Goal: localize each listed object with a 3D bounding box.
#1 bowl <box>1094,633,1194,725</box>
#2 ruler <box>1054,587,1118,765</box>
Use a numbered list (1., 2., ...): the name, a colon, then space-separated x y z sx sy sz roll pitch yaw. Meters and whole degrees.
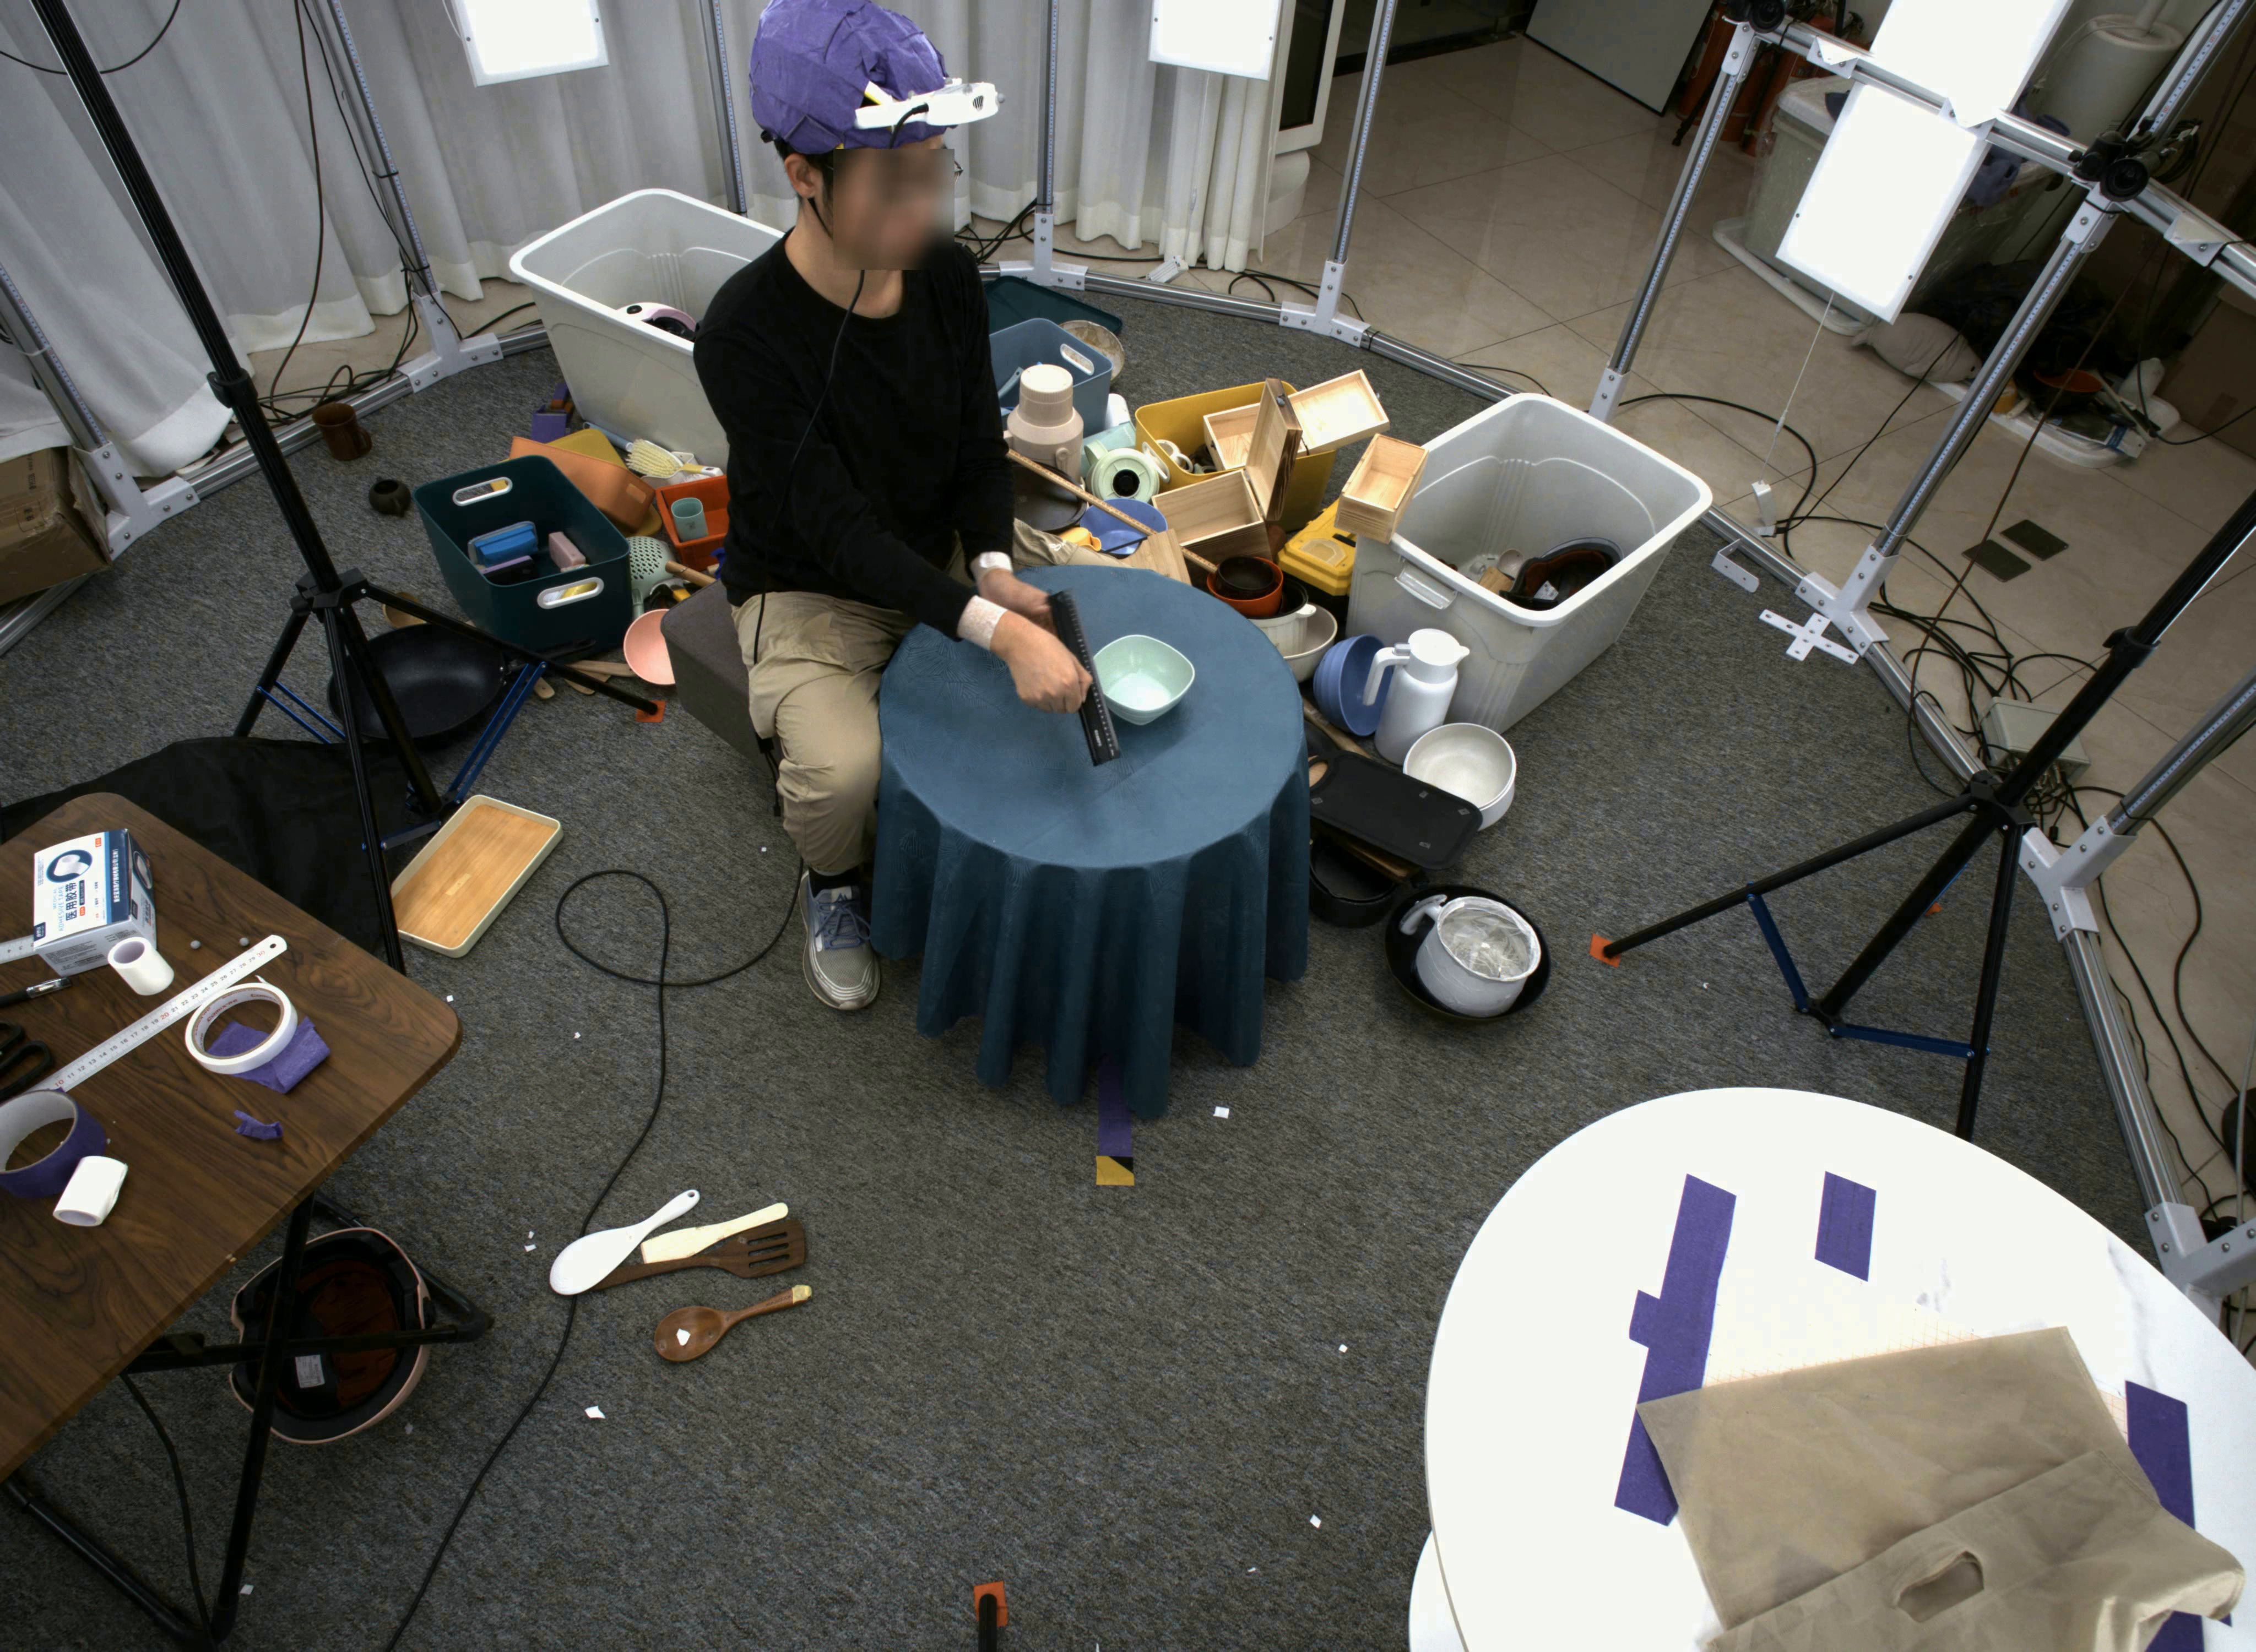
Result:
1. bowl: 0.015 -0.198 1.806 0.151 0.057 0.155 3 51 -4
2. ruler: -0.059 -0.211 1.719 0.039 0.017 0.320 -16 54 4
